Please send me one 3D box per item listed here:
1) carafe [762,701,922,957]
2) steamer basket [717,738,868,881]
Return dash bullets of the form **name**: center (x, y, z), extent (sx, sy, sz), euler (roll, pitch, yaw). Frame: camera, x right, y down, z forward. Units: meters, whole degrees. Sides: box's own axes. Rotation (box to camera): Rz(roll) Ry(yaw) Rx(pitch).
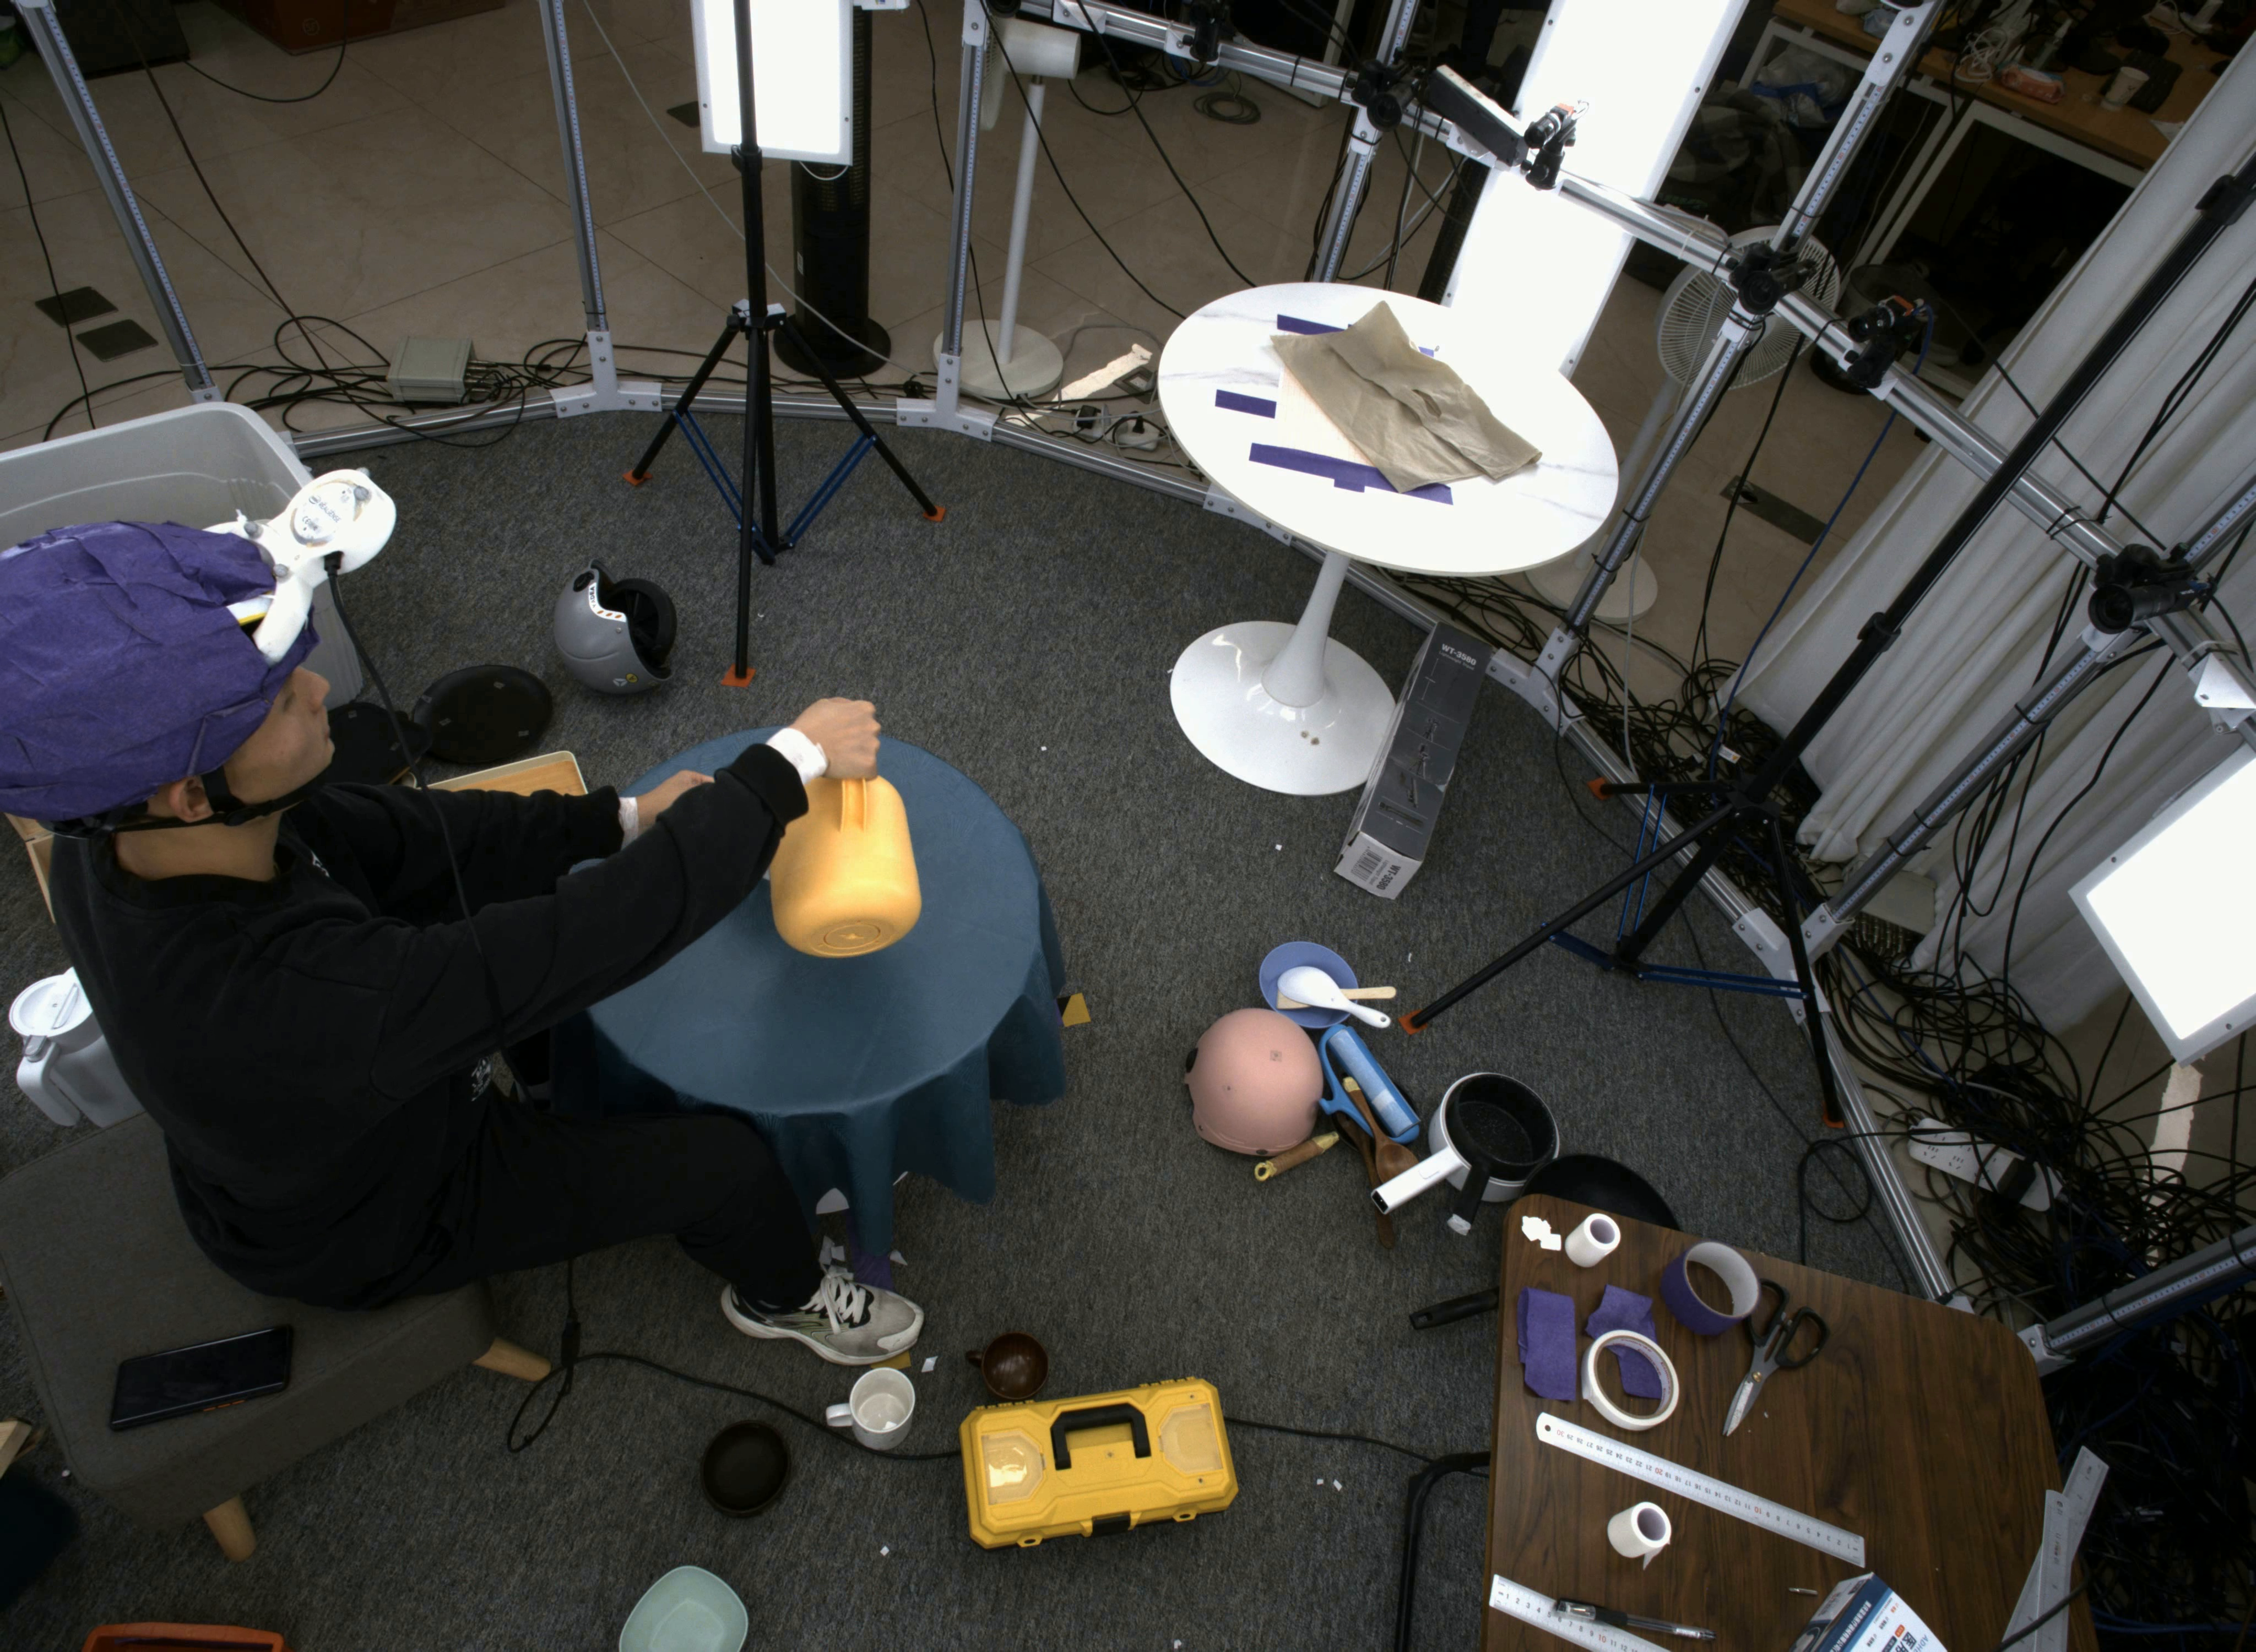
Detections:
- **carafe**: center (-0.327, -0.006, 1.451), extent (0.164, 0.205, 0.255), euler (-7, 61, -22)
- **steamer basket**: center (-0.421, -0.018, 1.658), extent (0.200, 0.070, 0.229), euler (25, 49, 3)
